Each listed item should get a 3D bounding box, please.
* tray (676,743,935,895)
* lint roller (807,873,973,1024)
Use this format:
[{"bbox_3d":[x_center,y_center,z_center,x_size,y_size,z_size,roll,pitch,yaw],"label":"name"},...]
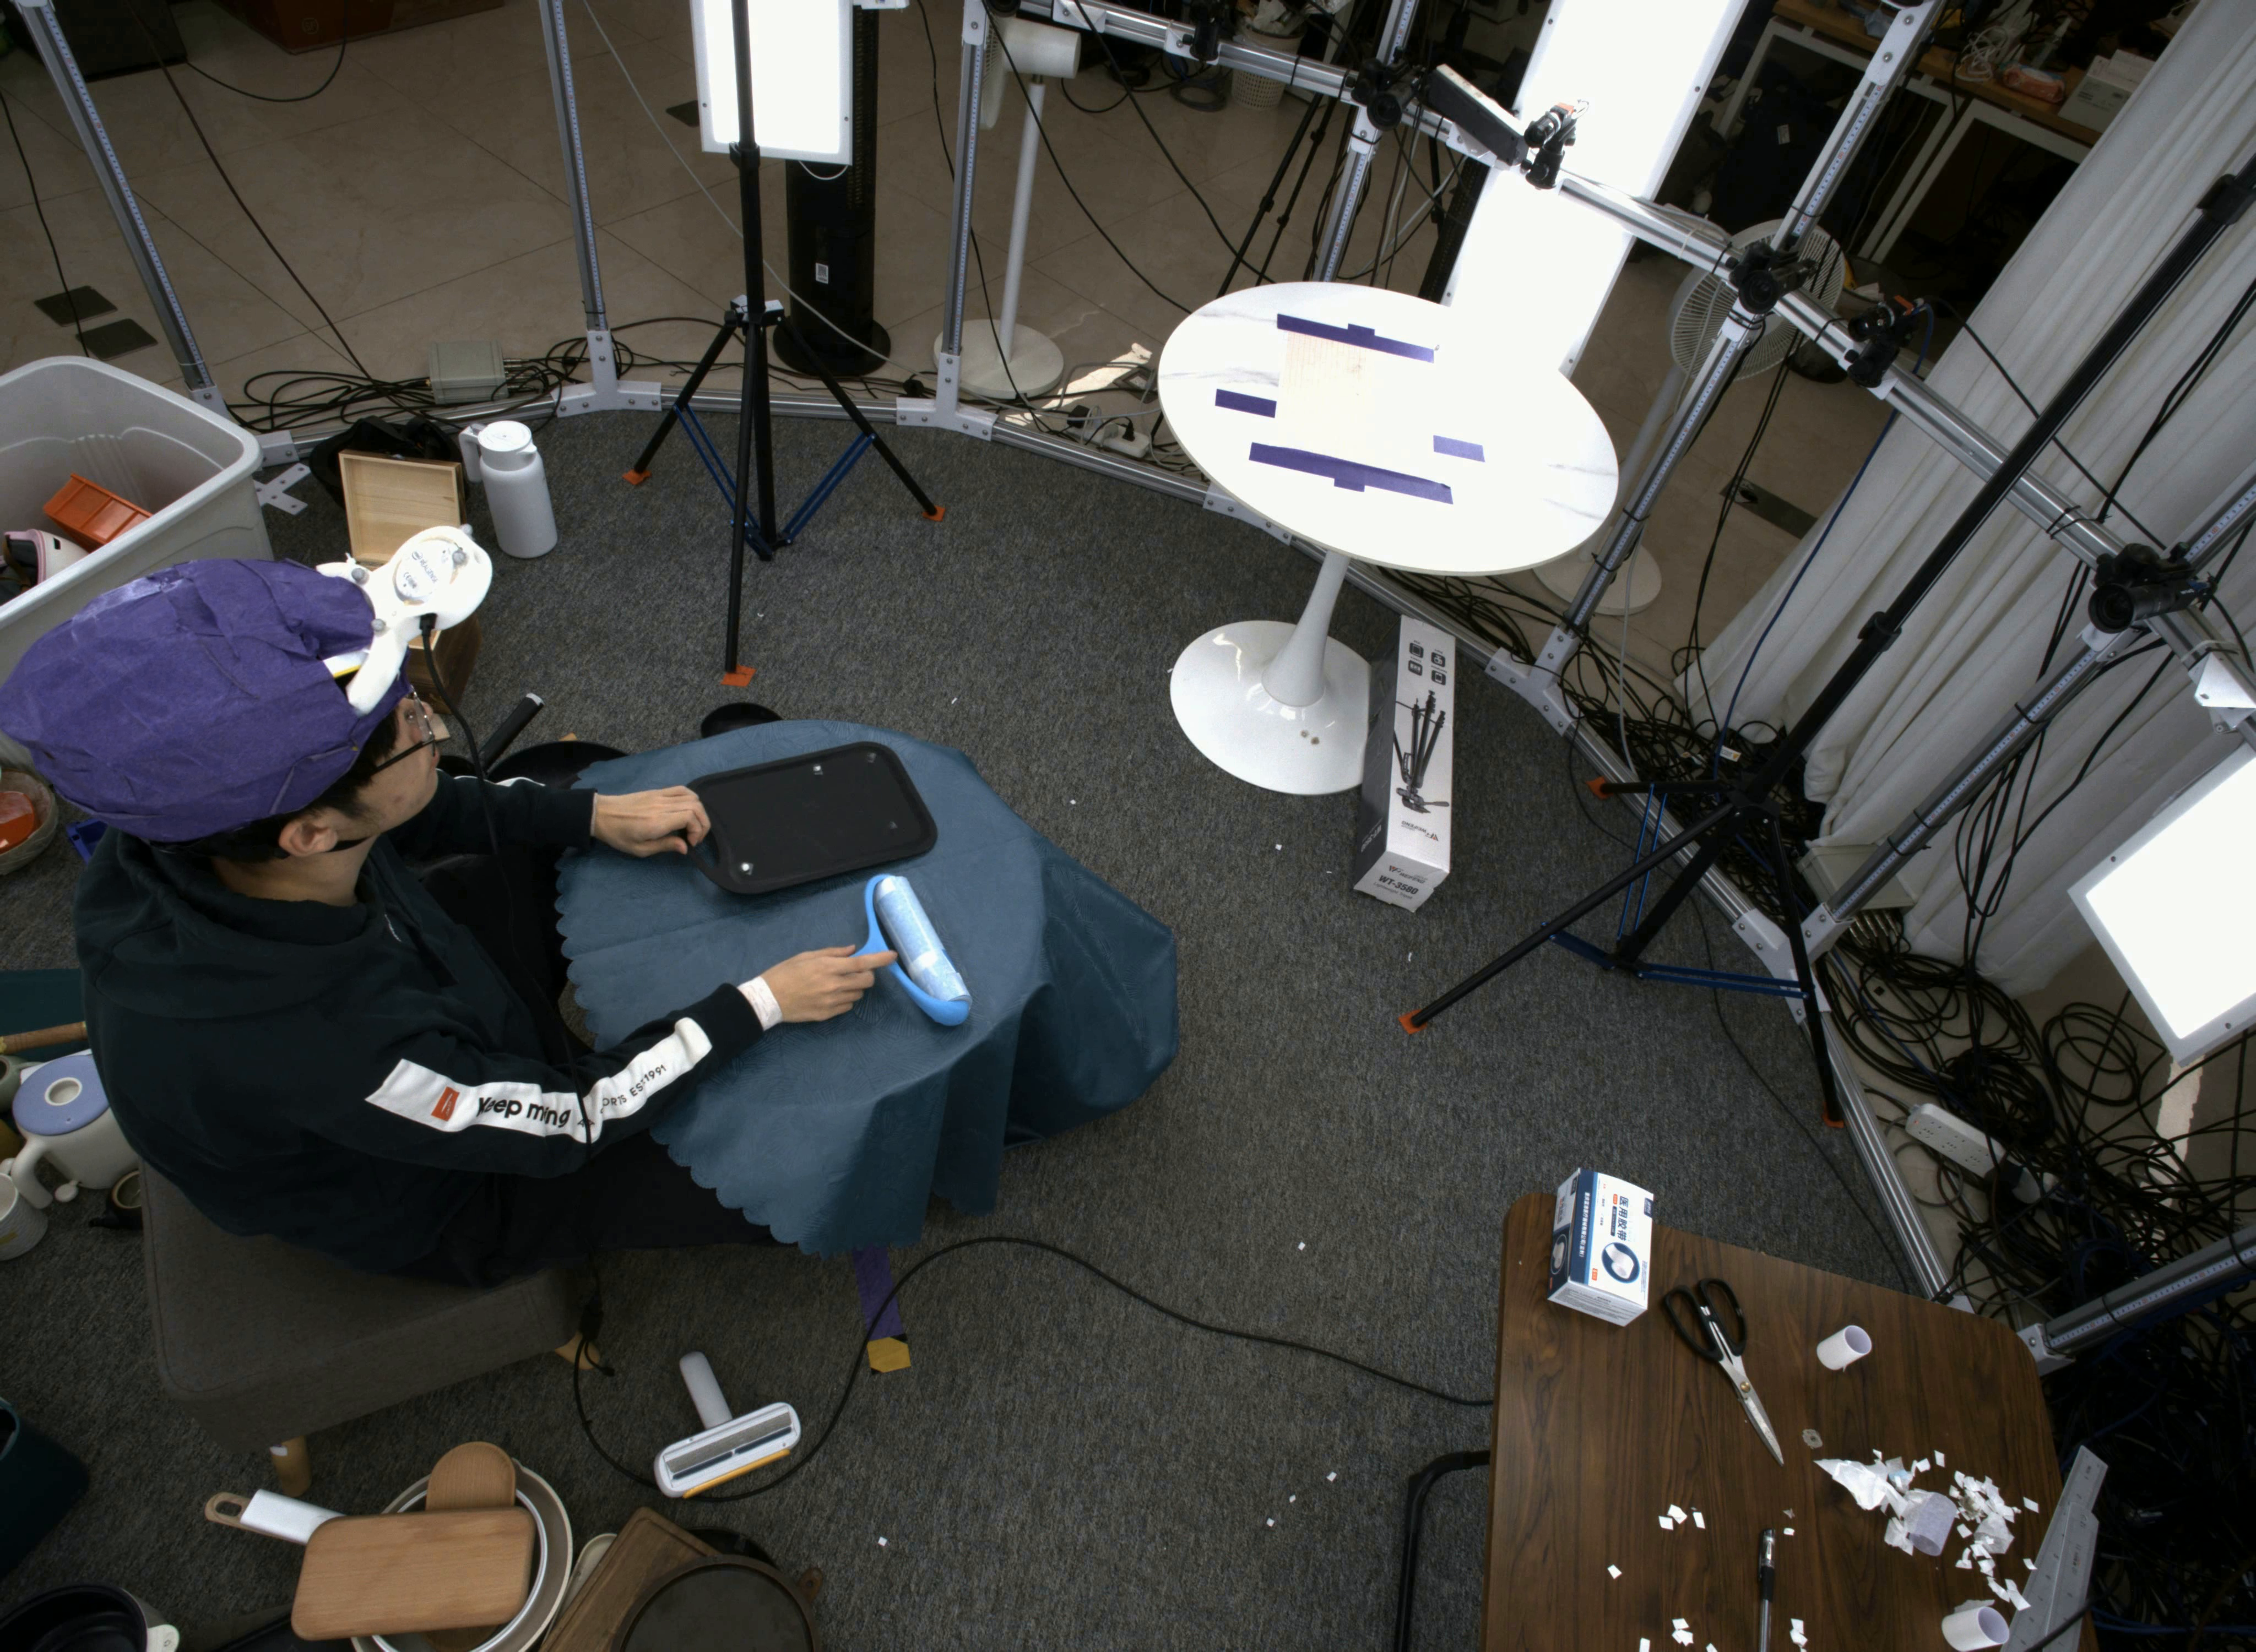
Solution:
[{"bbox_3d":[-0.429,-0.015,1.714,0.328,0.010,0.205,-15,58,-31],"label":"tray"},{"bbox_3d":[-0.309,0.168,1.600,0.181,0.069,0.224,-22,64,-29],"label":"lint roller"}]
